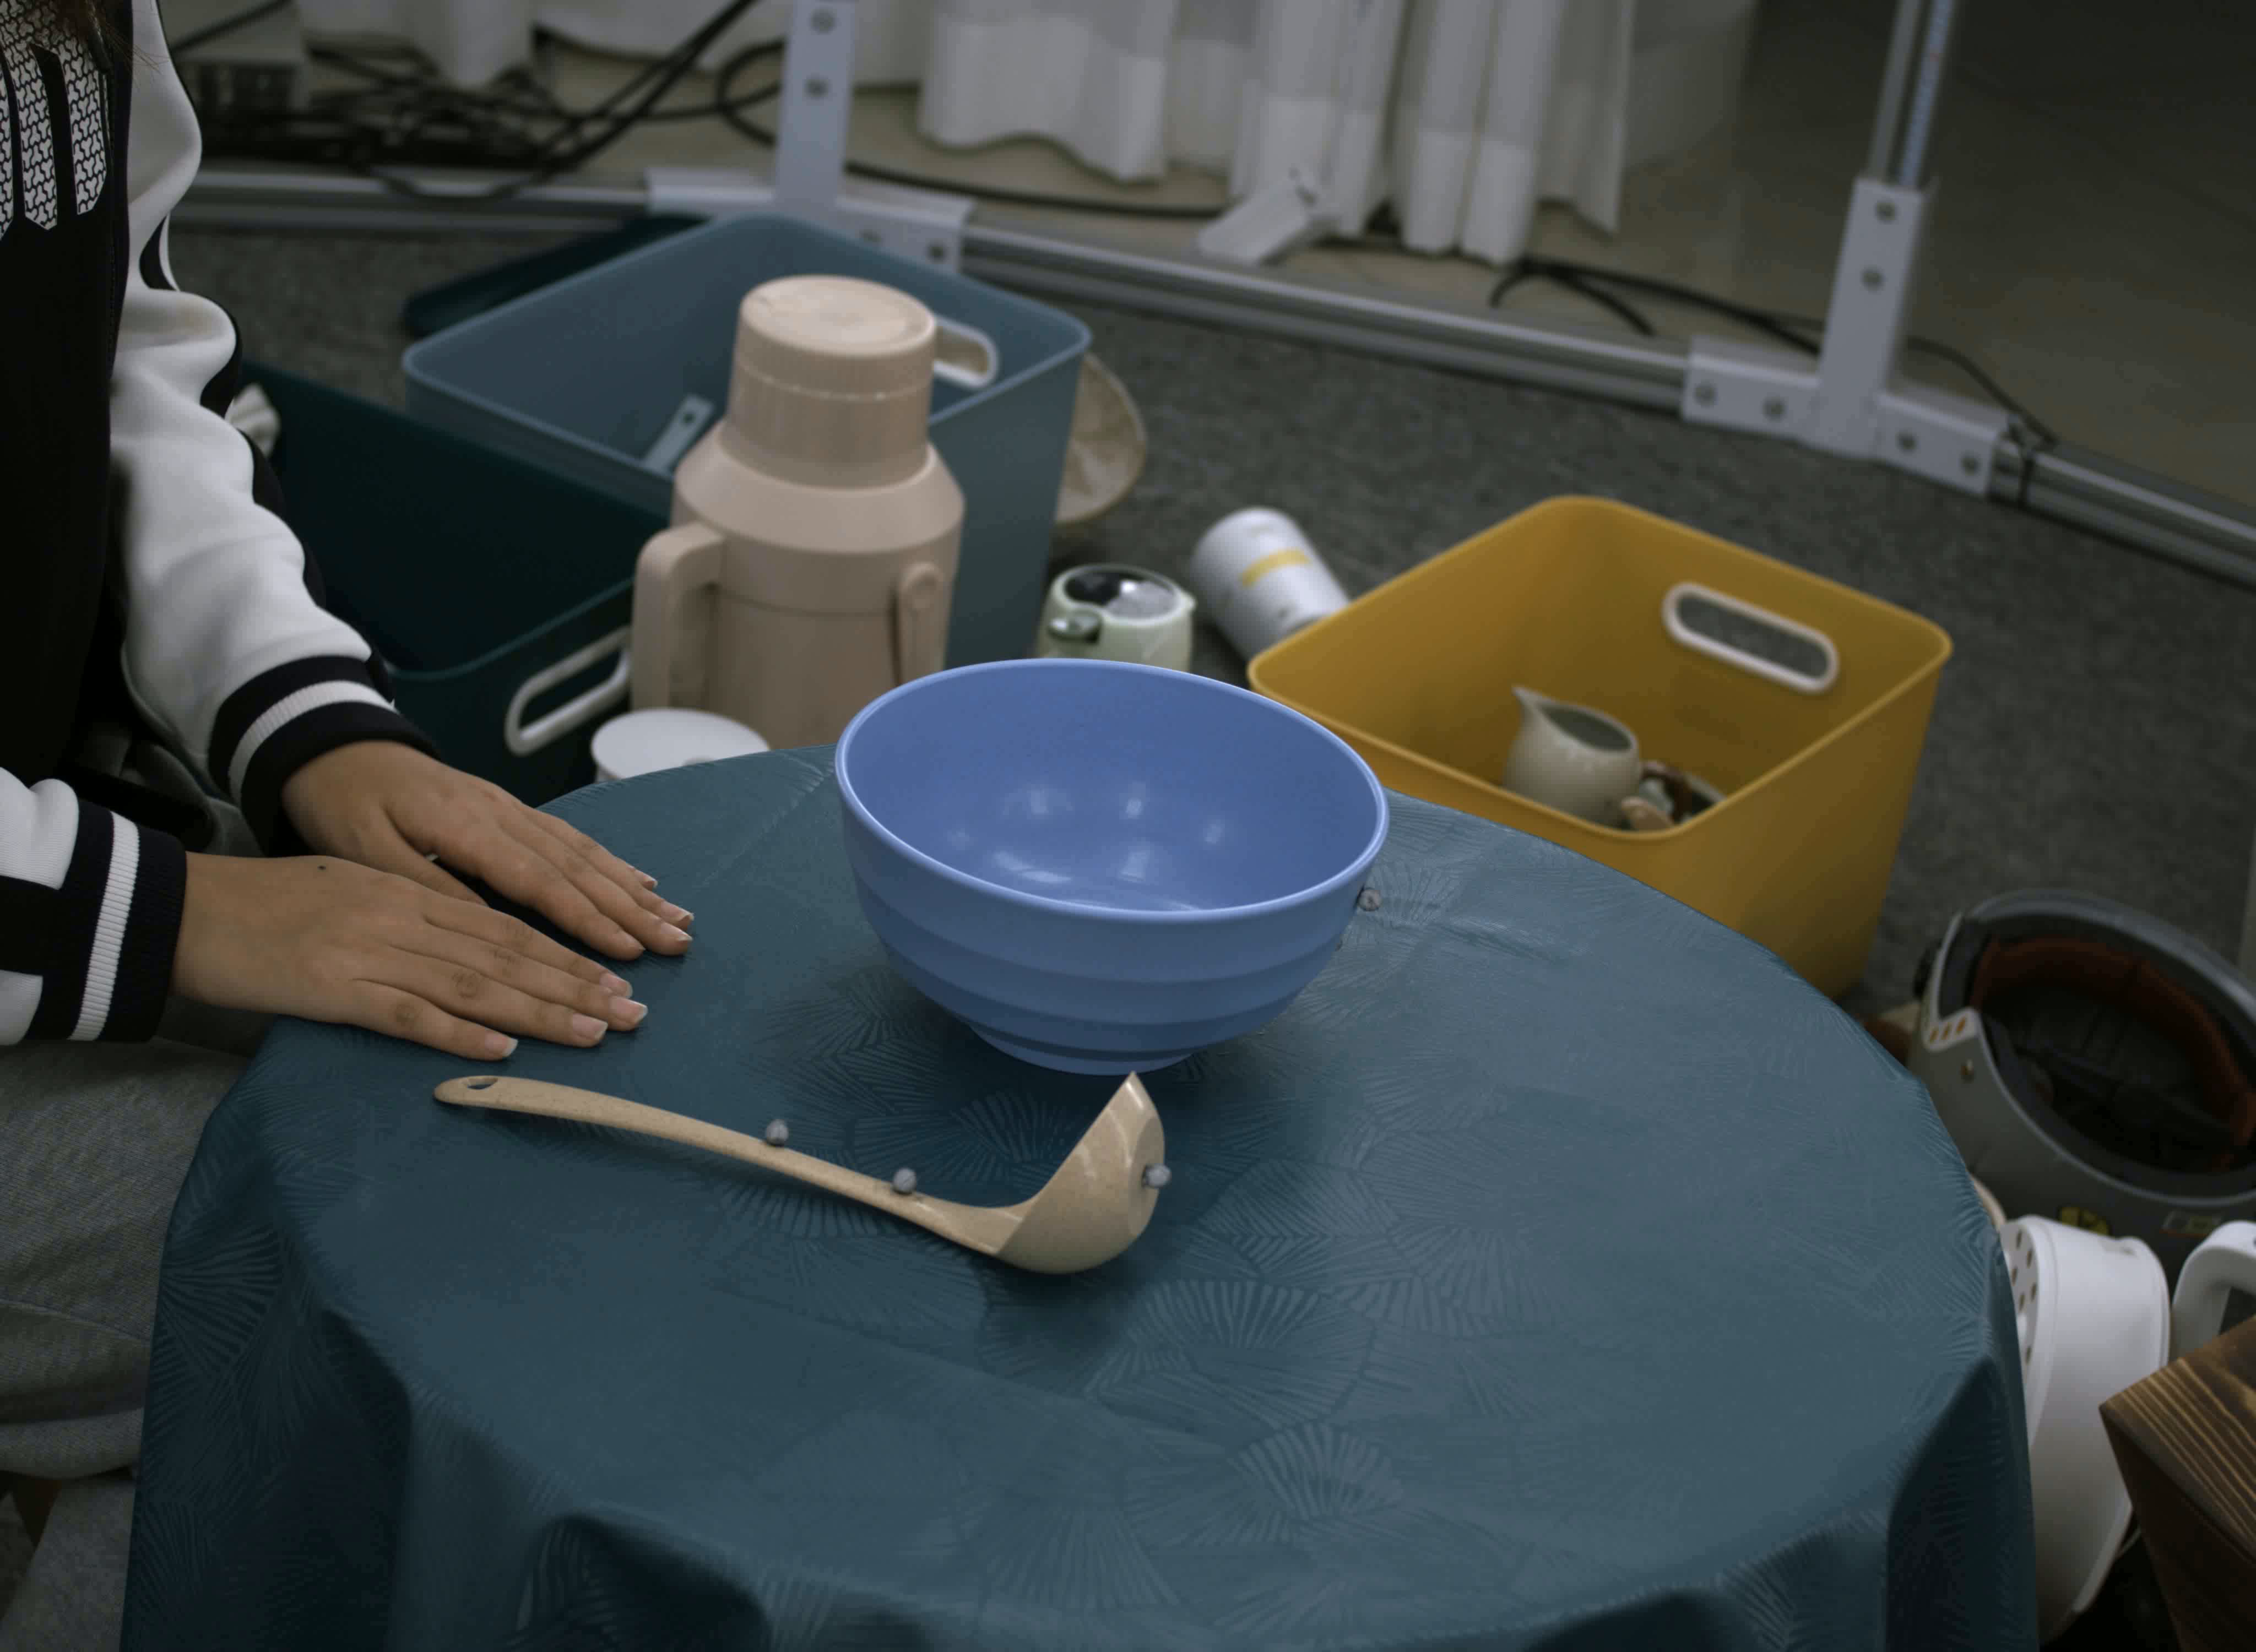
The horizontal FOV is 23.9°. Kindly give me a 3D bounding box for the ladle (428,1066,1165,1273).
[{"bbox_3d":[-0.113,0.089,1.764,0.255,0.072,0.072,13,26,13],"label":"ladle"}]

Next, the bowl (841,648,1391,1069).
[{"bbox_3d":[-0.011,0.023,1.889,0.196,0.095,0.197,8,27,-4],"label":"bowl"}]
